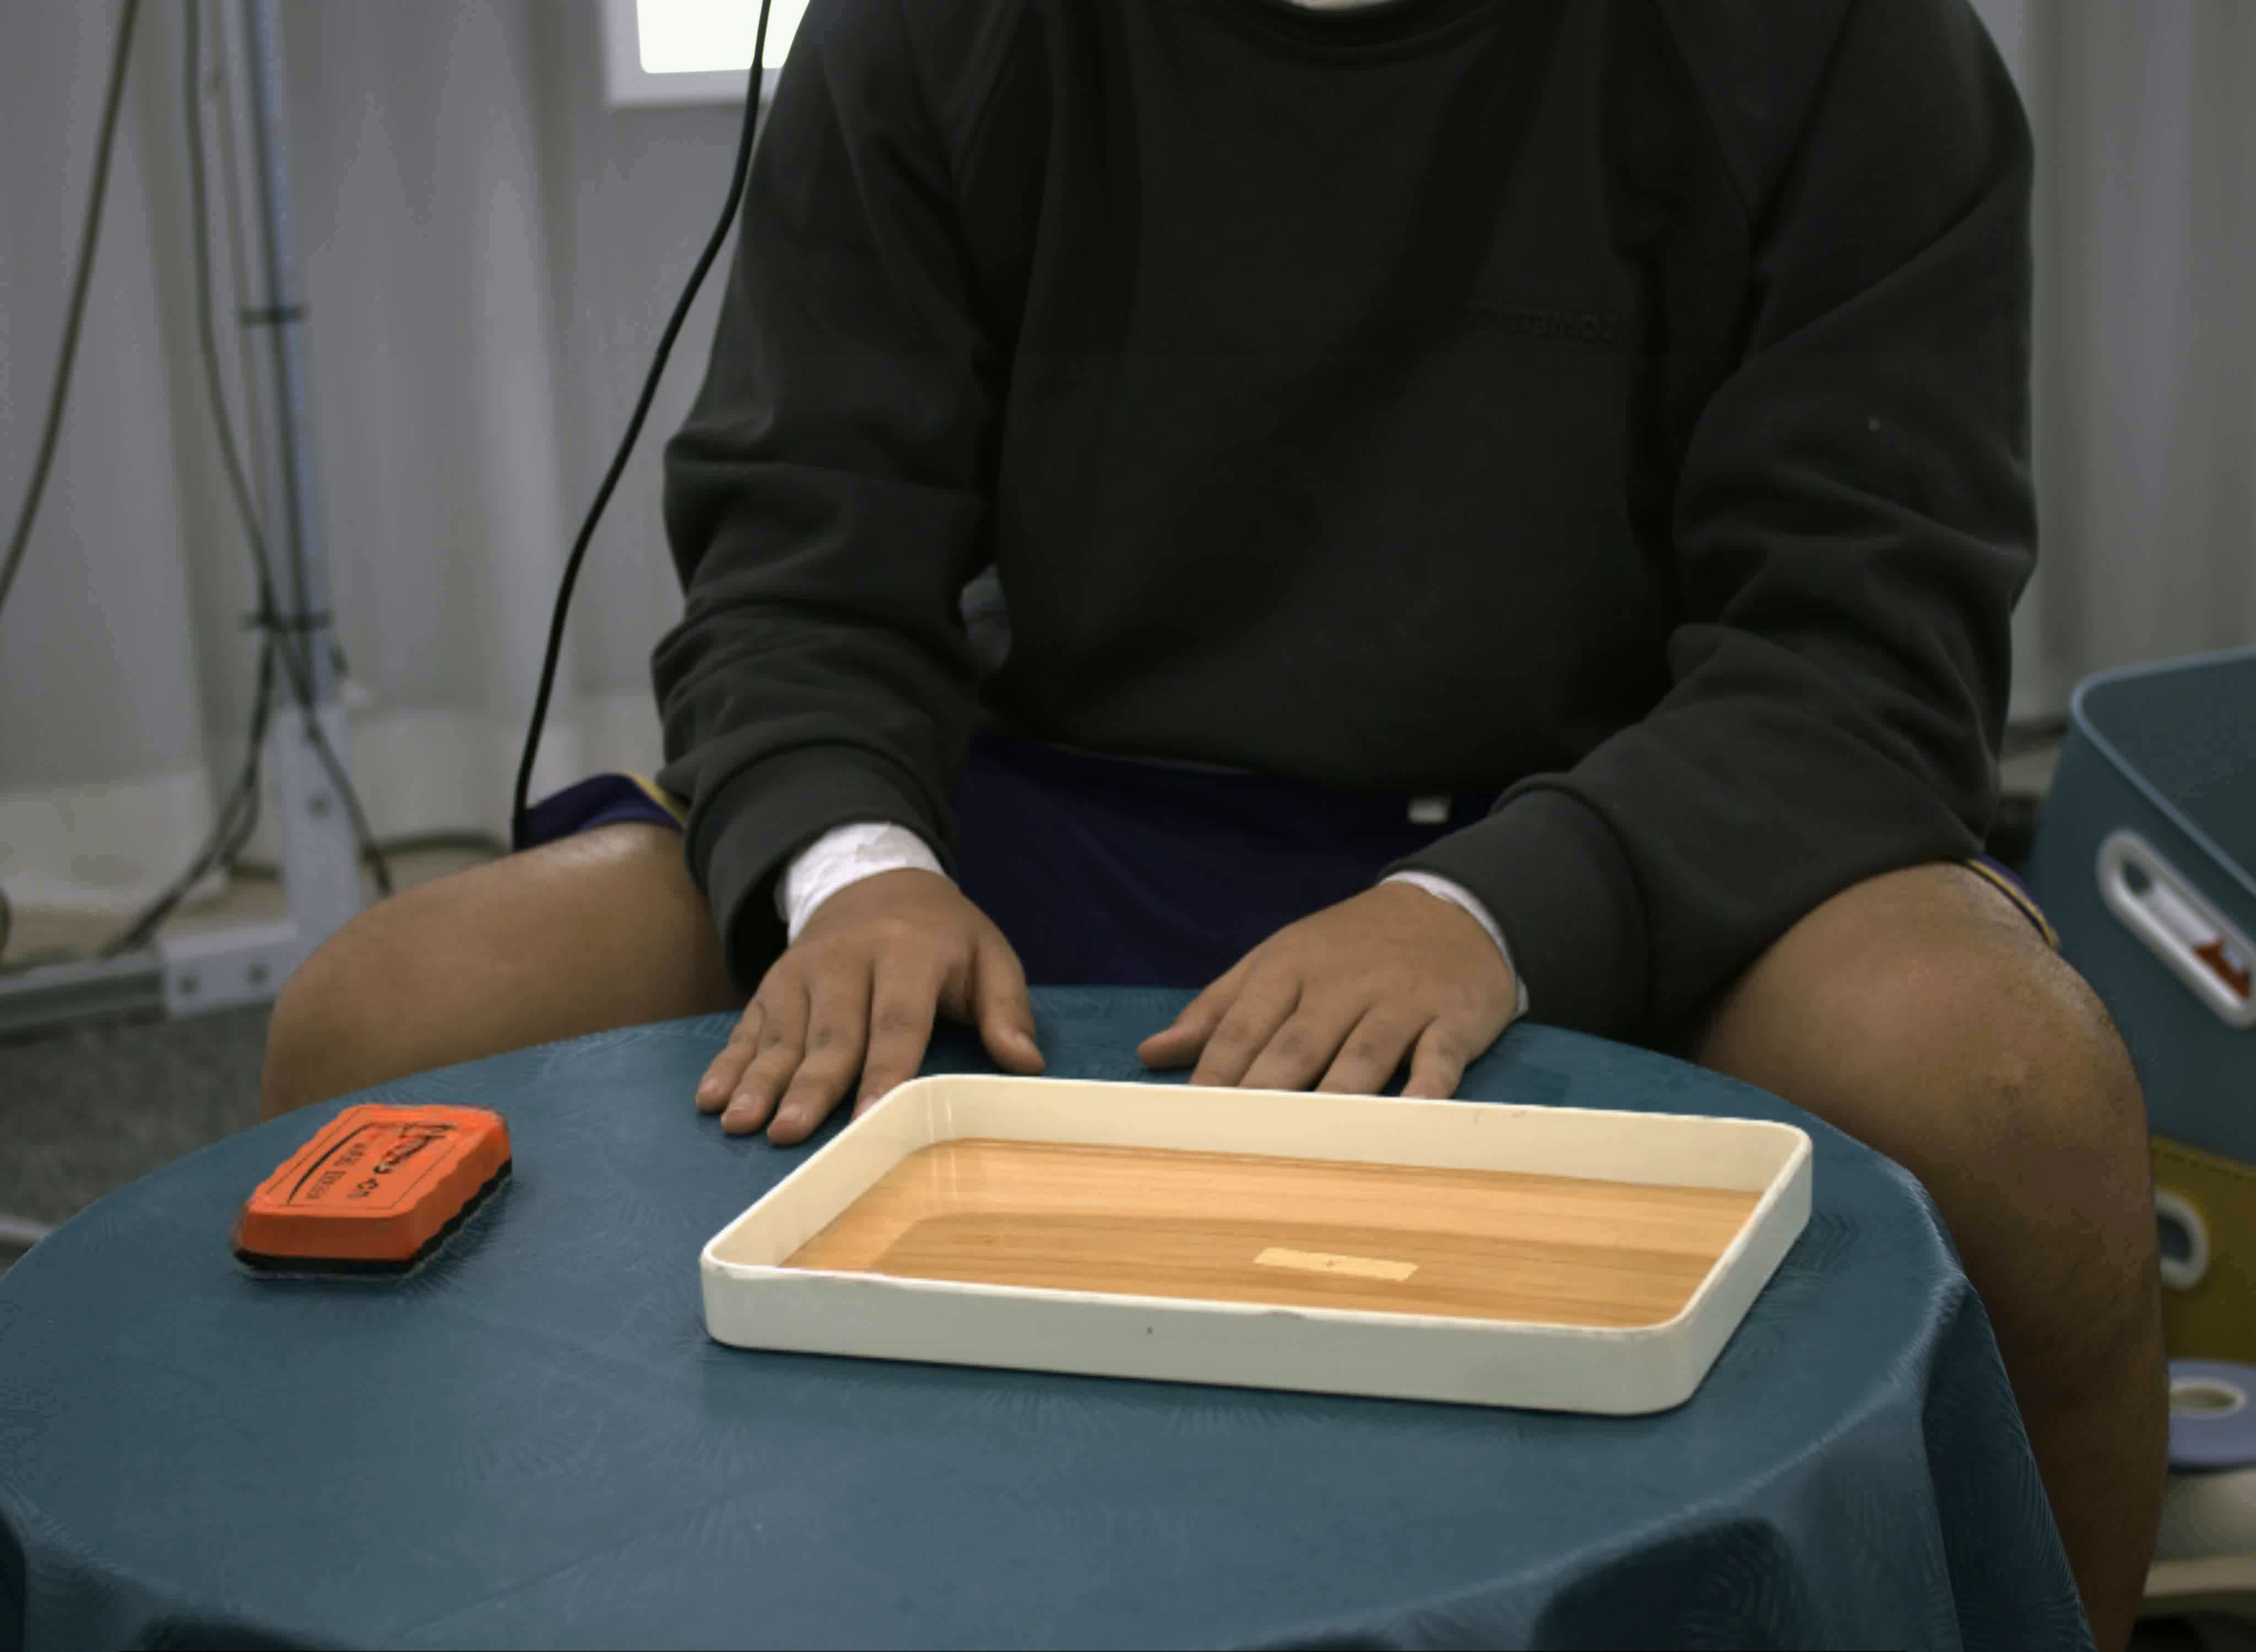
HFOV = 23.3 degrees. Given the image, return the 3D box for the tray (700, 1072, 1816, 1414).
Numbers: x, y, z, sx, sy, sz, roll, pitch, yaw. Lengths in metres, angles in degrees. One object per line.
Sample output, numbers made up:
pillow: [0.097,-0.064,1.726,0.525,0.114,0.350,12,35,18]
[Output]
tray: [0.042,0.122,1.630,0.300,0.027,0.192,3,16,20]

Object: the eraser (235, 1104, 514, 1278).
eraser: [-0.235,0.114,1.717,0.059,0.023,0.108,-1,14,14]
